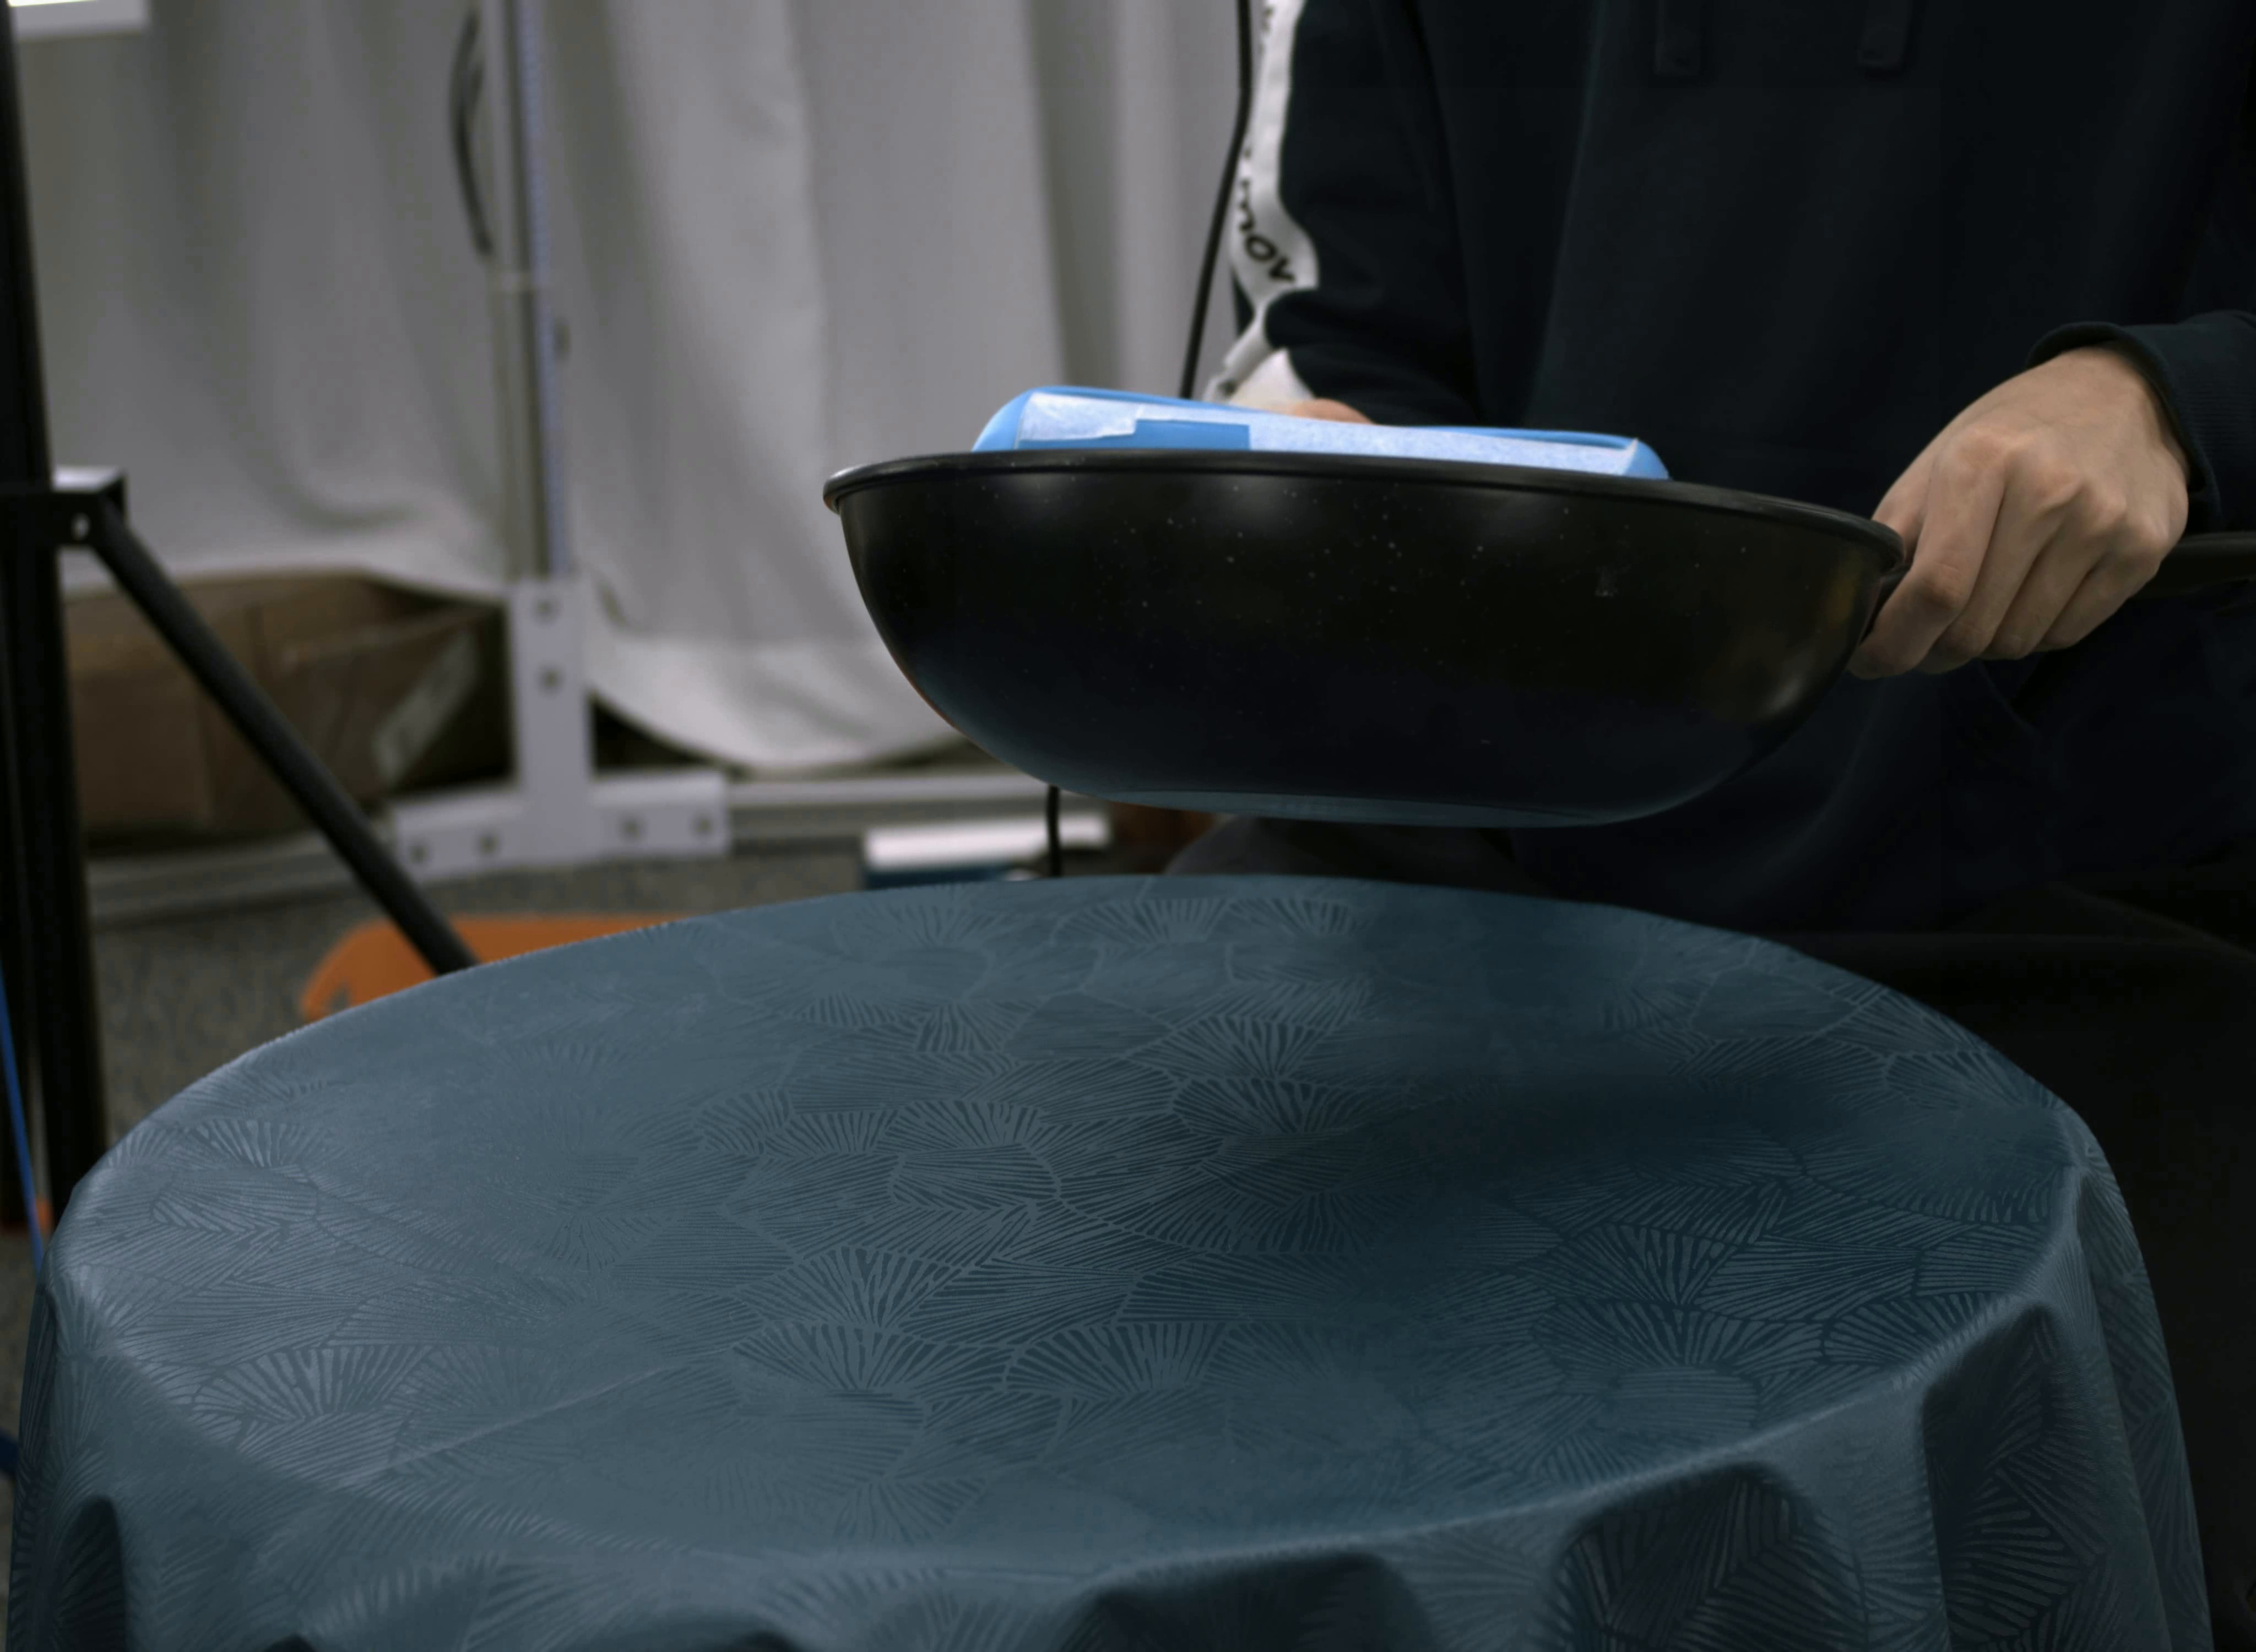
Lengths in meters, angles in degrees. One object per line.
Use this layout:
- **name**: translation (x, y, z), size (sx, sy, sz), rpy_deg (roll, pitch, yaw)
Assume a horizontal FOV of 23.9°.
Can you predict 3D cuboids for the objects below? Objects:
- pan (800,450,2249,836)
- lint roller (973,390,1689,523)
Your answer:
- **pan**: translation (0.133, -0.051, 1.543), size (0.466, 0.112, 0.316), rpy_deg (5, -1, -25)
- **lint roller**: translation (0.069, -0.100, 1.745), size (0.229, 0.068, 0.179), rpy_deg (4, -2, 7)
